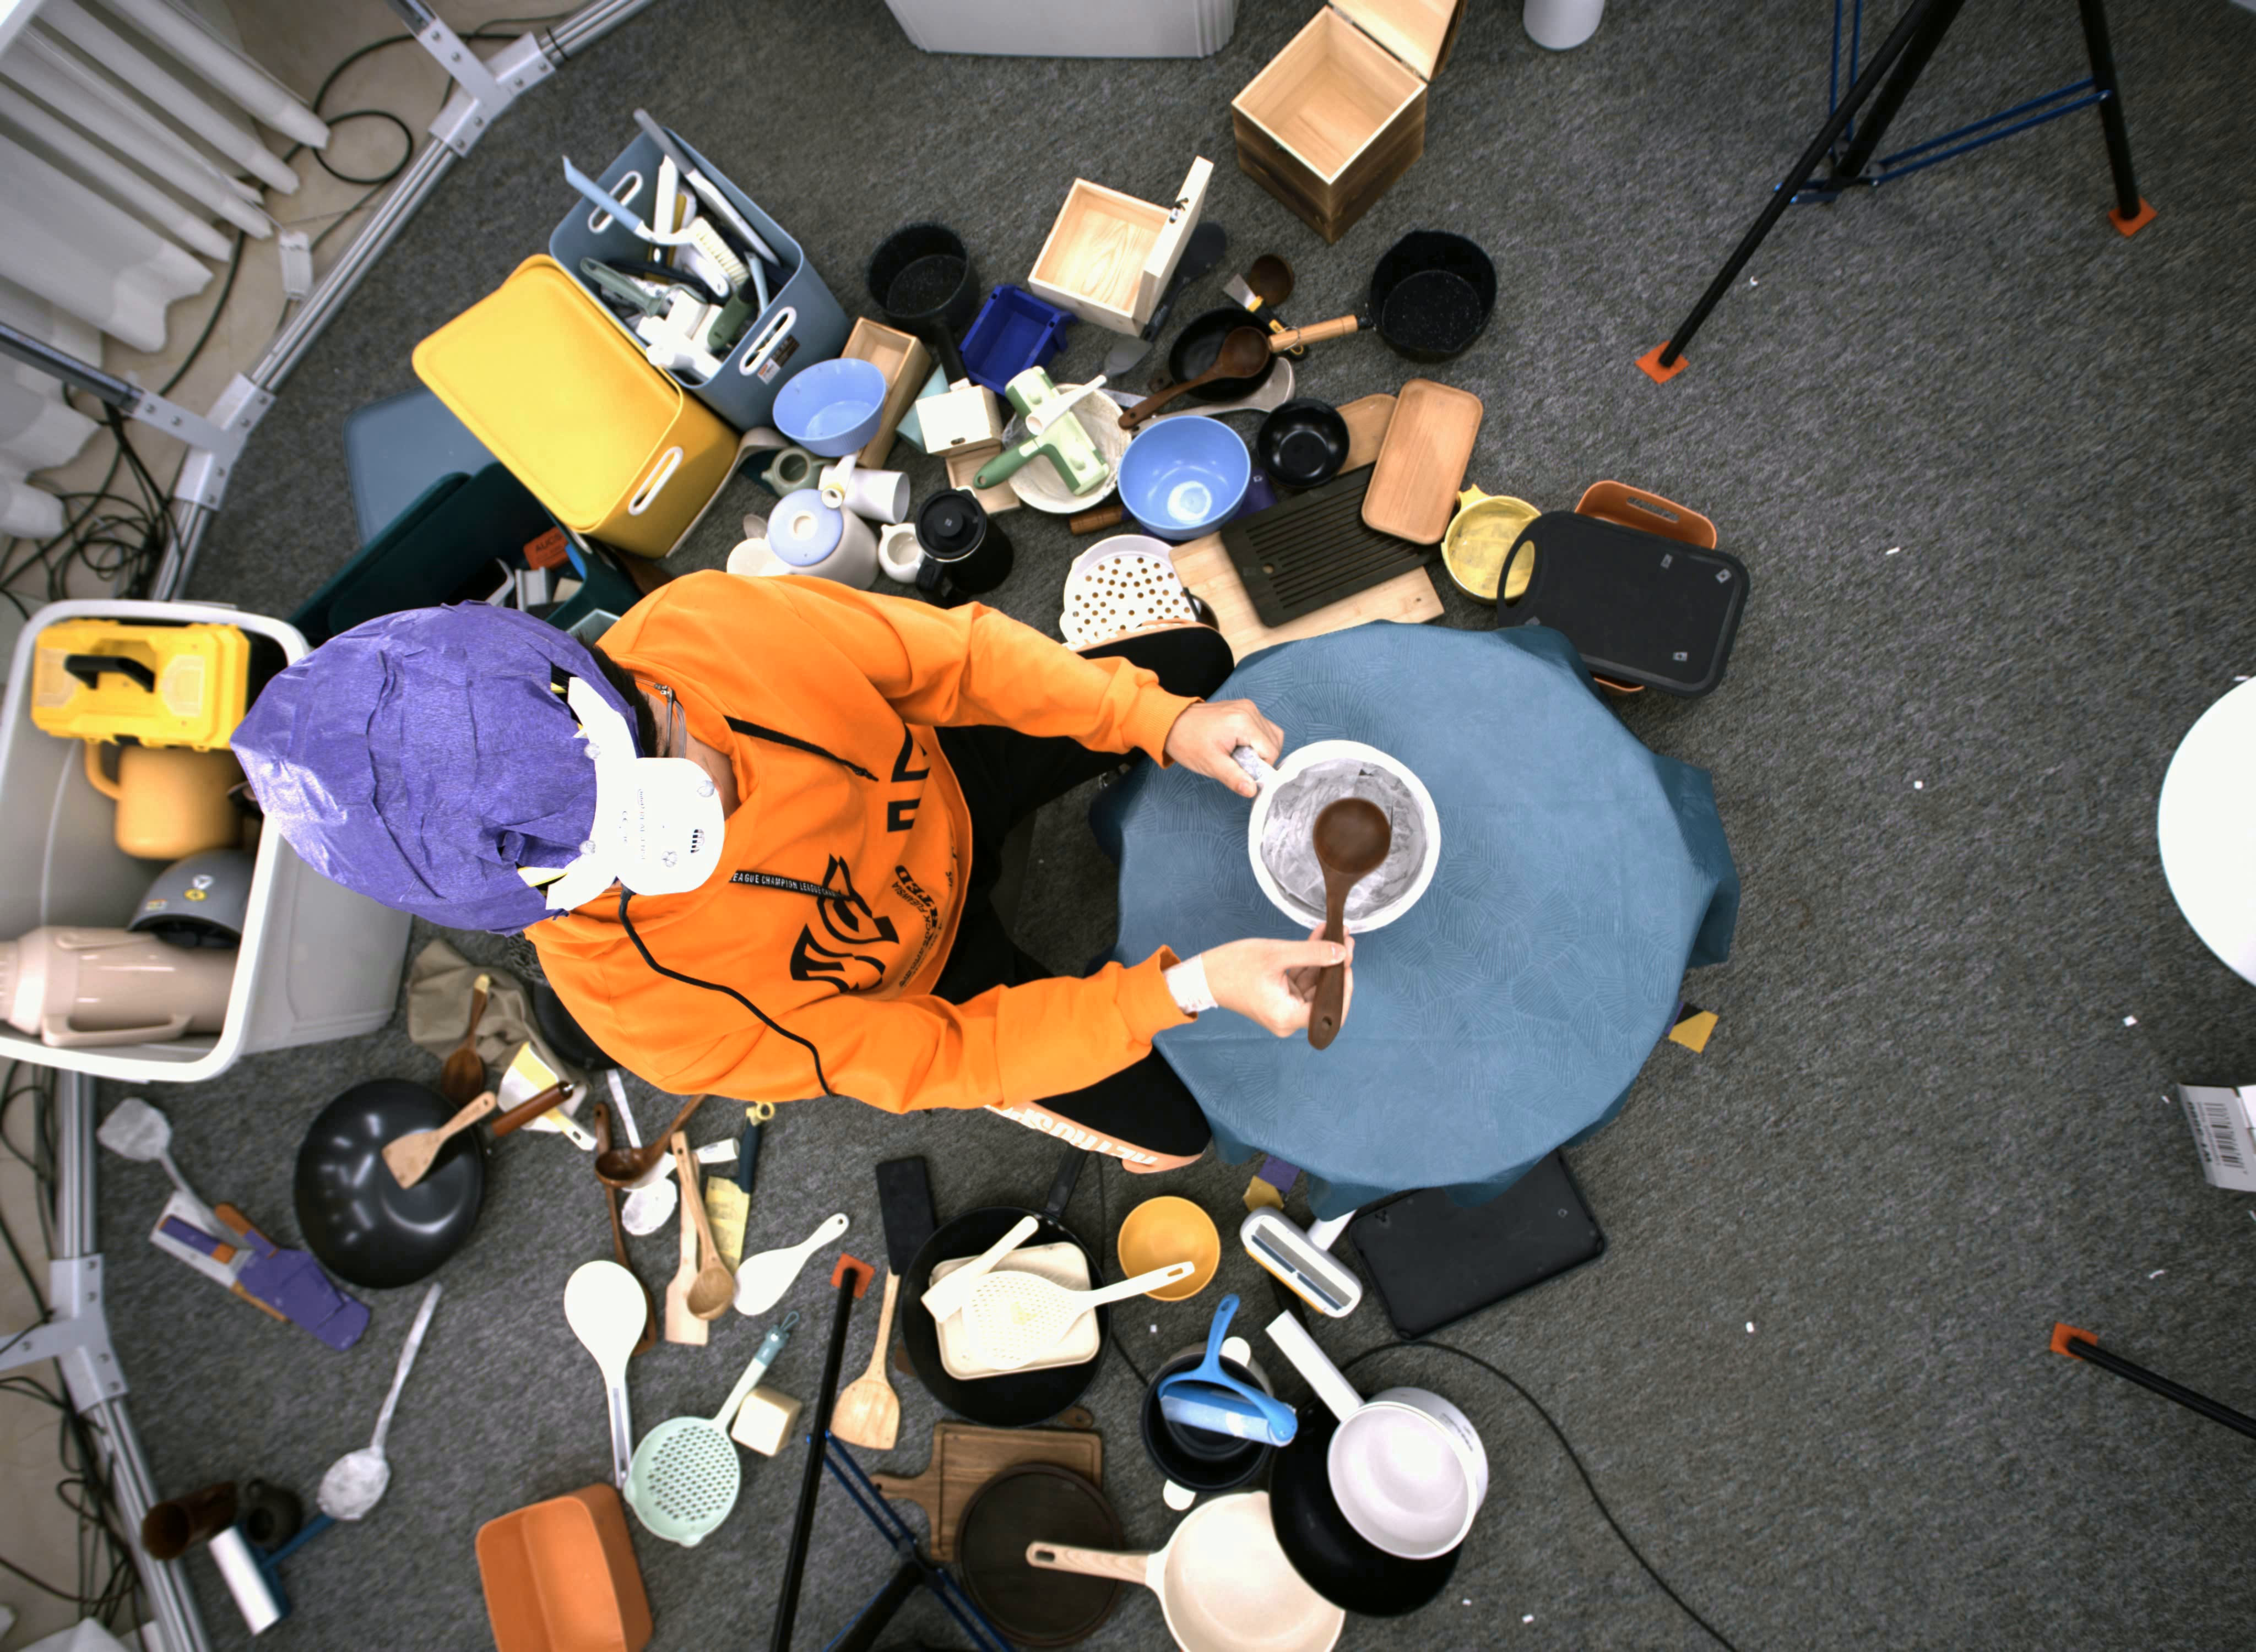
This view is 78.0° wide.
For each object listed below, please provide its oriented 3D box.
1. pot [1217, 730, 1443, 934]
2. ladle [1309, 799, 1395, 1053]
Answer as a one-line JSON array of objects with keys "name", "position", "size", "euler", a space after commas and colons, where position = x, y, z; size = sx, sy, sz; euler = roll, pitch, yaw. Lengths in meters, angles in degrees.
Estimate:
[{"name": "pot", "position": [0.185, -0.011, 1.340], "size": [0.234, 0.135, 0.180], "euler": [36, 99, 0]}, {"name": "ladle", "position": [0.191, 0.081, 1.229], "size": [0.076, 0.067, 0.253], "euler": [14, 48, 3]}]
